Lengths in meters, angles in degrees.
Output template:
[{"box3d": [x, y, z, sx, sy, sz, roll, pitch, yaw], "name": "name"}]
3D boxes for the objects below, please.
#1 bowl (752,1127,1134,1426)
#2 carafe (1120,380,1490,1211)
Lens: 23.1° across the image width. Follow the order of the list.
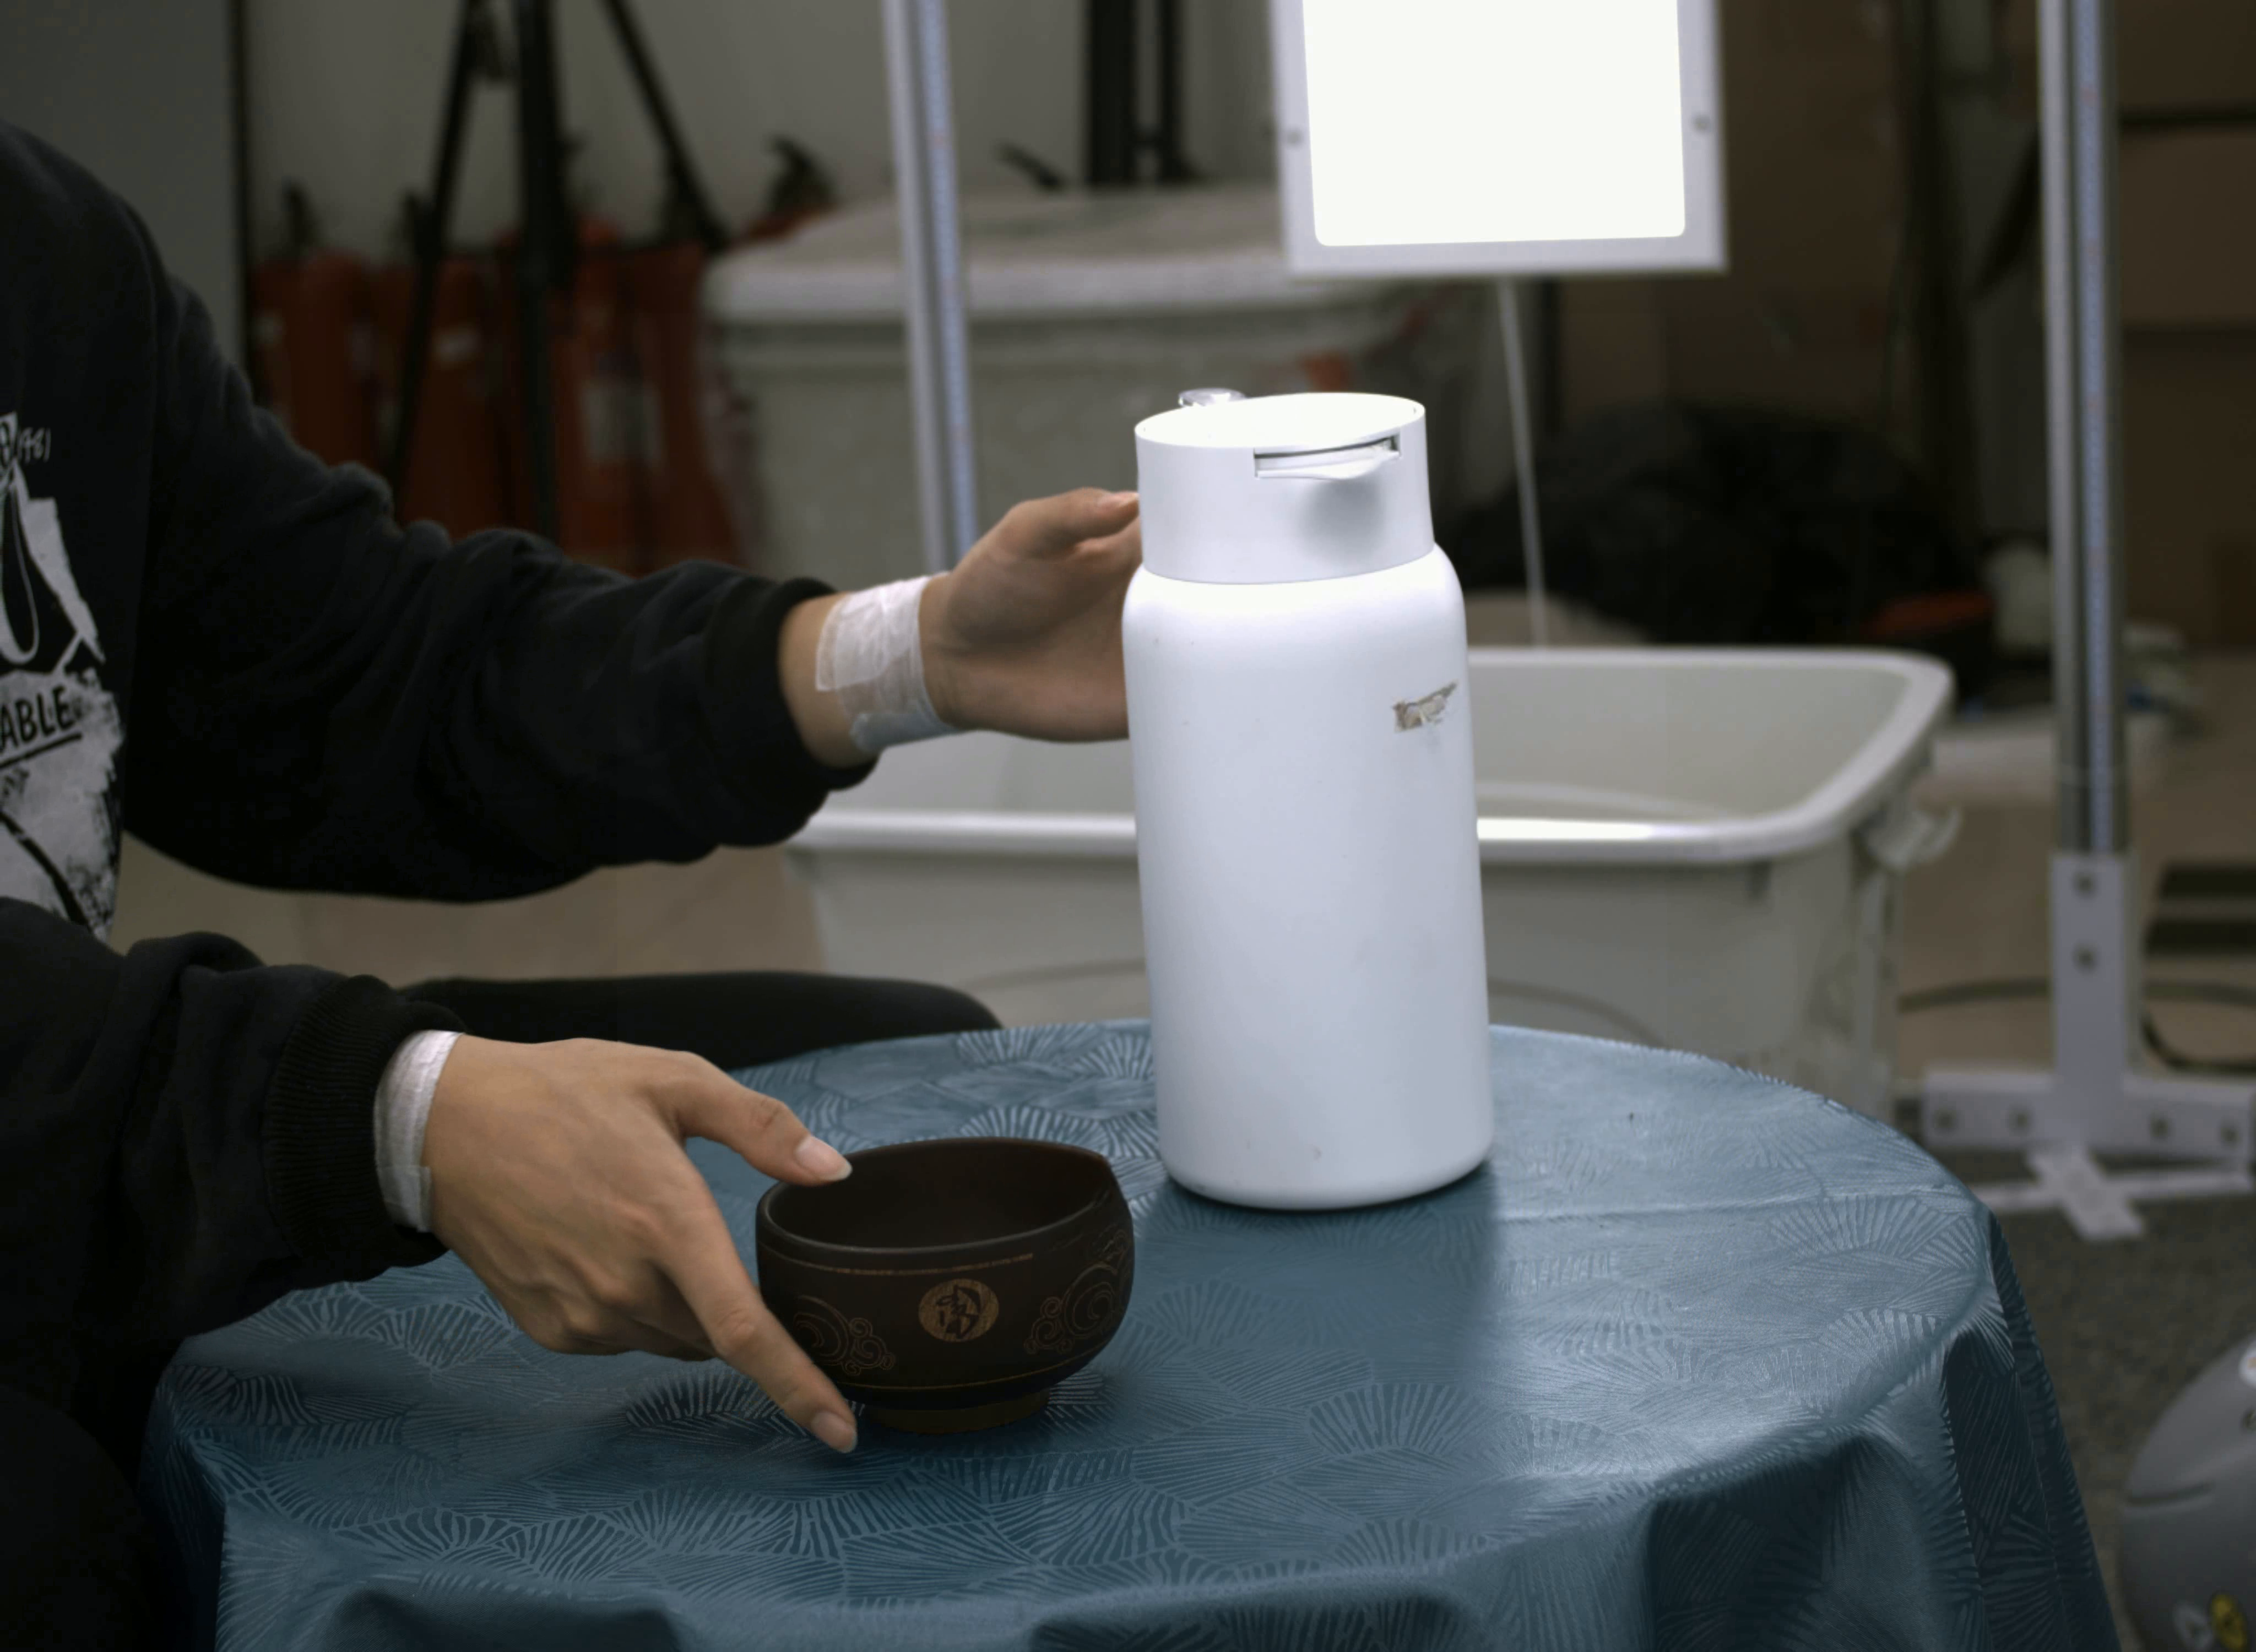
[{"box3d": [-0.056, 0.143, 1.697, 0.118, 0.070, 0.118, -5, 14, 0], "name": "bowl"}, {"box3d": [0.052, -0.014, 1.889, 0.121, 0.270, 0.175, -12, 16, -20], "name": "carafe"}]
